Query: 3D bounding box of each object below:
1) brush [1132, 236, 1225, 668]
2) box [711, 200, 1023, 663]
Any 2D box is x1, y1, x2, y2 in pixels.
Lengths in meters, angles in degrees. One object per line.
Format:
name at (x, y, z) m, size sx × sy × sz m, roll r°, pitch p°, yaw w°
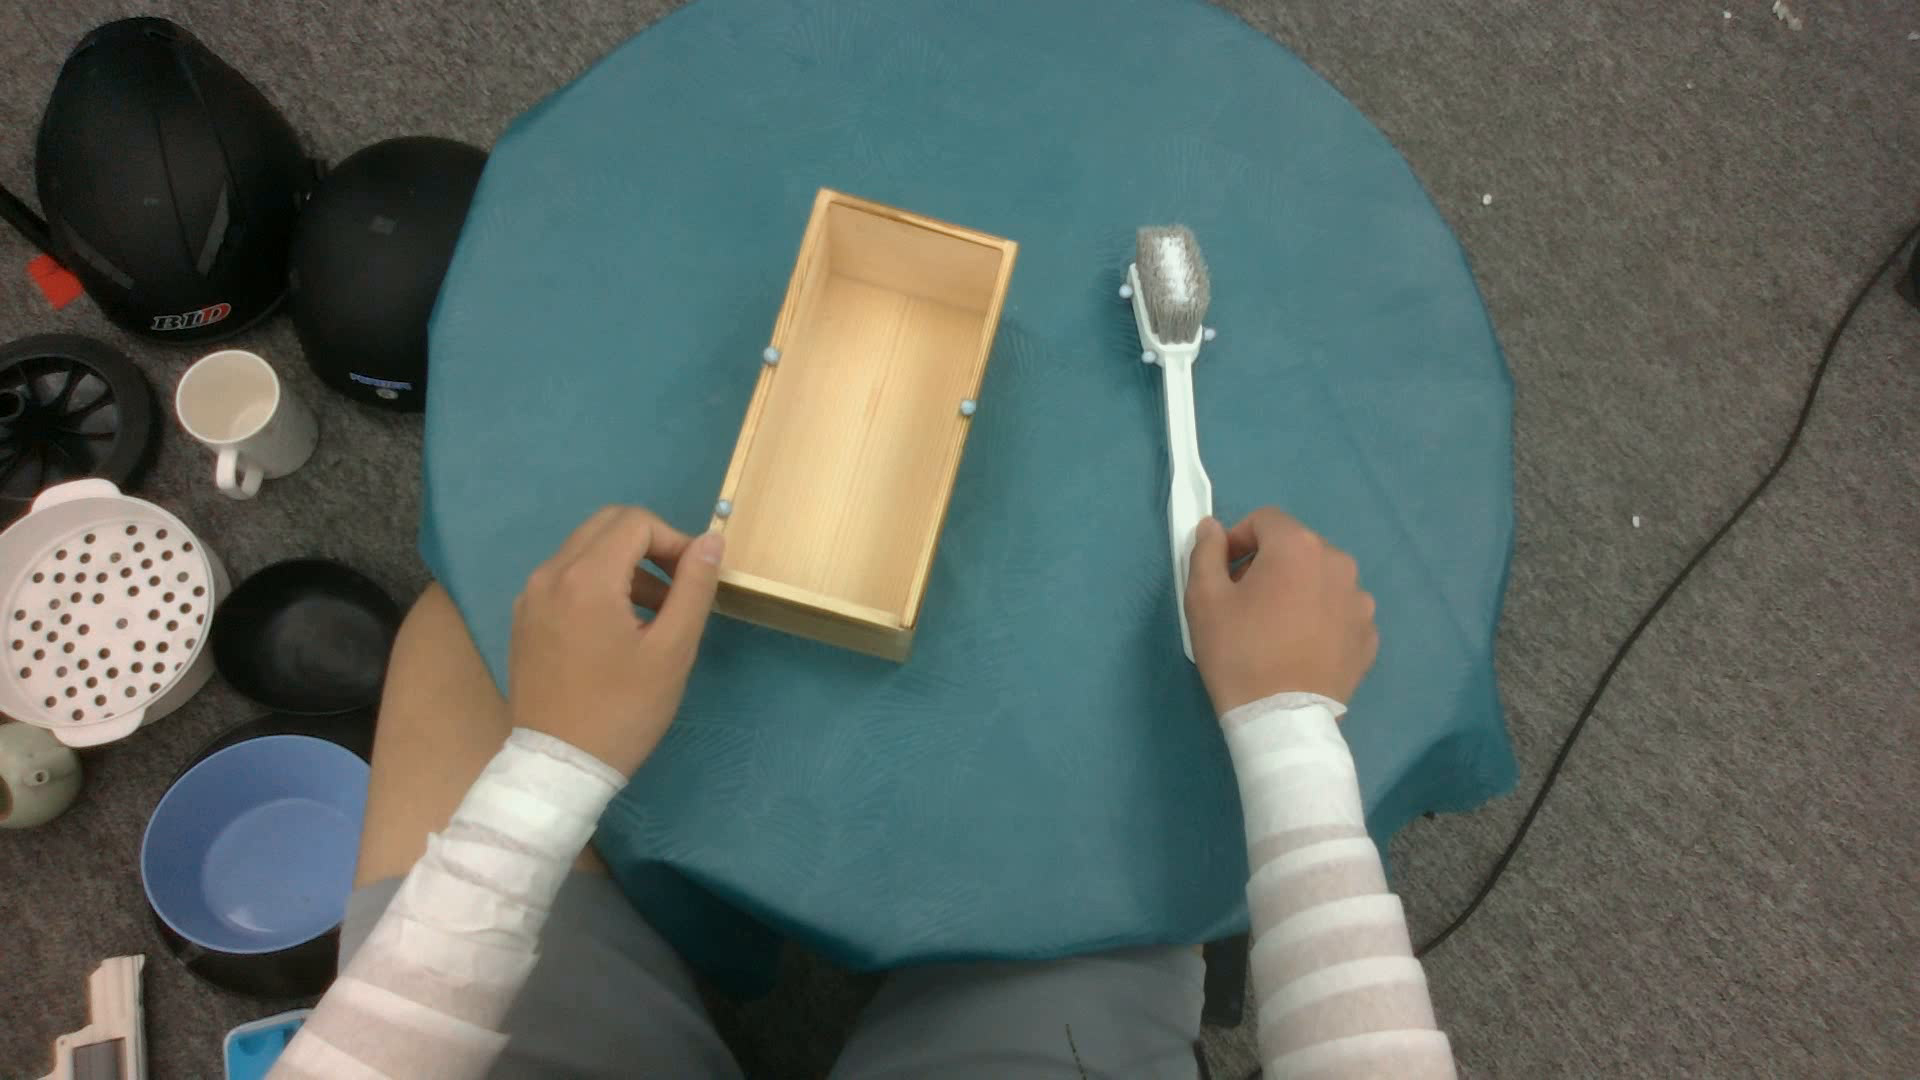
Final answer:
brush at (0.124, -0.054, 0.750) m, size 0.034 × 0.050 × 0.244 m, roll -2°, pitch 72°, yaw -5°
box at (-0.046, -0.056, 0.719) m, size 0.107 × 0.080 × 0.212 m, roll 14°, pitch 73°, yaw -1°
